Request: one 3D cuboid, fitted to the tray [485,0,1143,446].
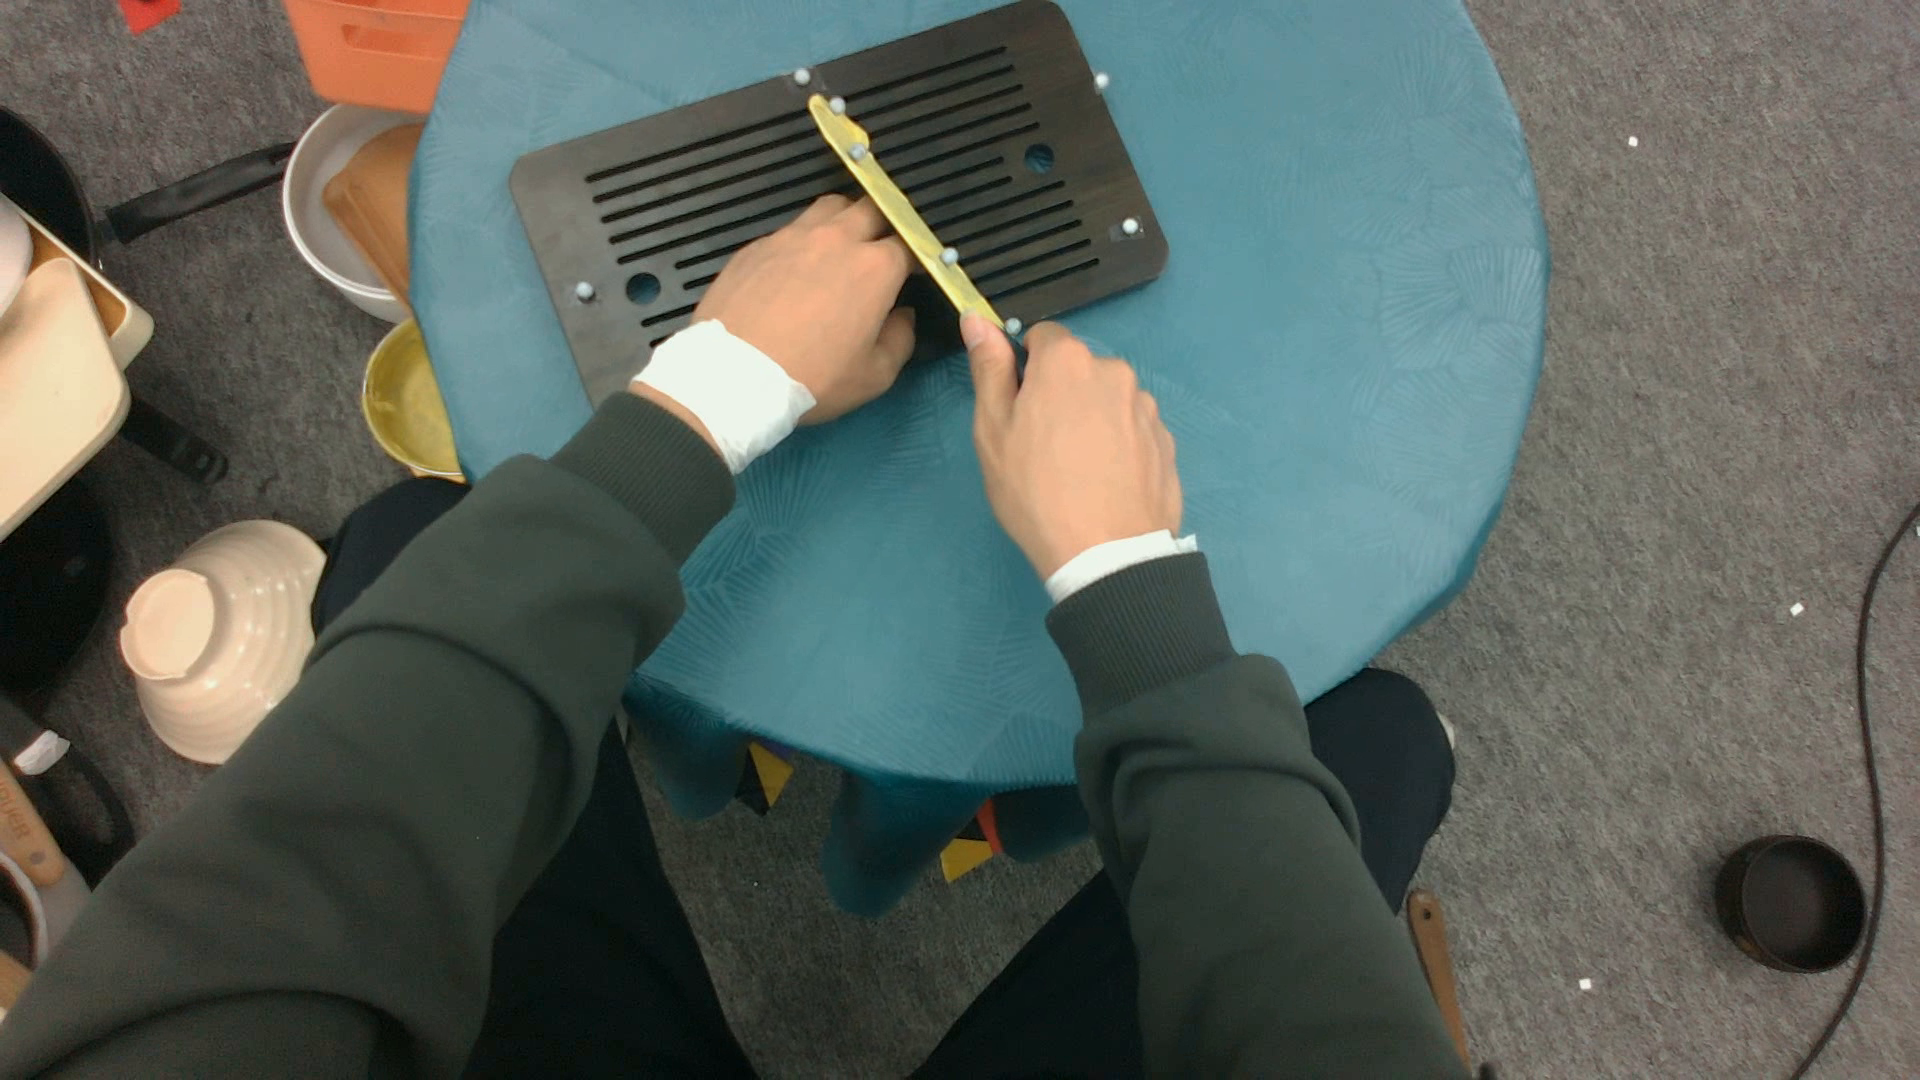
[{"bbox_3d":[-0.071,-0.172,0.710,0.306,0.018,0.170,-21,81,-11],"label":"tray"}]

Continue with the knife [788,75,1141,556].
[{"bbox_3d":[-0.002,-0.113,0.656,0.027,0.081,0.290,-38,78,17],"label":"knife"}]
